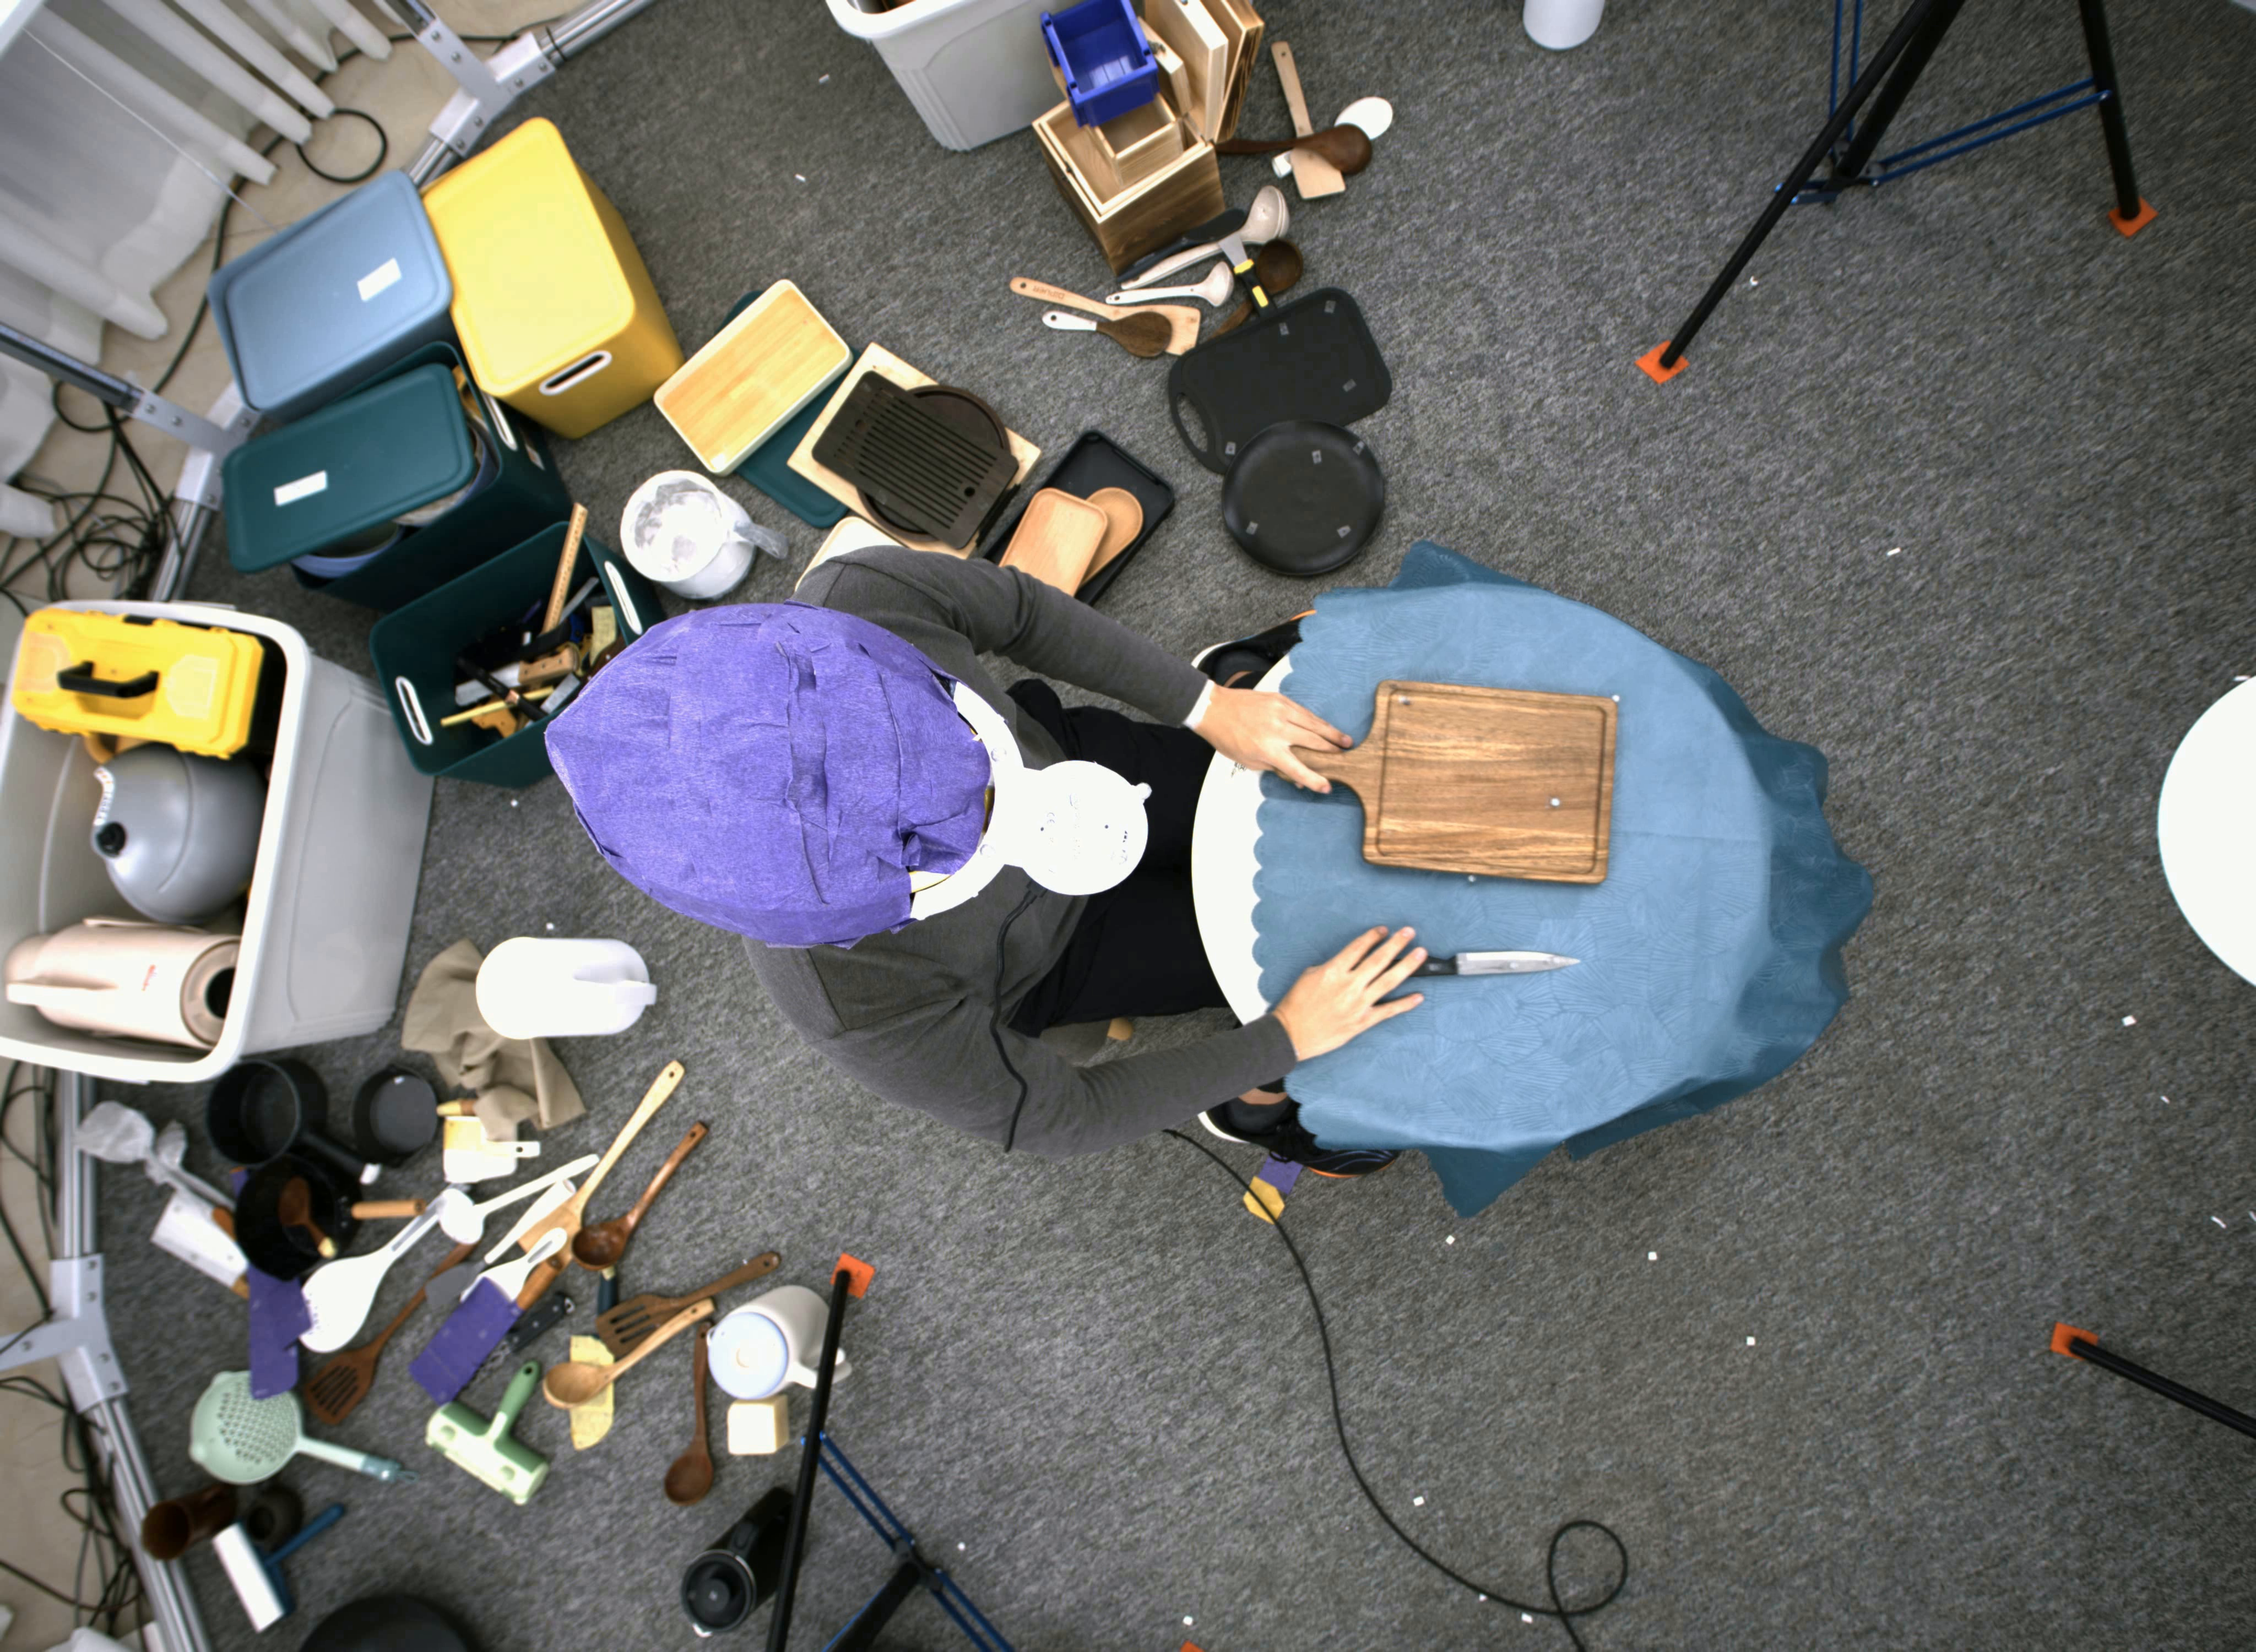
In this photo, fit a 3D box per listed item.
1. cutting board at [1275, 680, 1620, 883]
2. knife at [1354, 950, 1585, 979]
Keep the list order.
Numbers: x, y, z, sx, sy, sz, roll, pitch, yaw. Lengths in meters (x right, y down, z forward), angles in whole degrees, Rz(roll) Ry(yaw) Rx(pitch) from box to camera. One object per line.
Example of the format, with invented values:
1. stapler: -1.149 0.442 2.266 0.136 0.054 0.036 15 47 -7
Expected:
1. cutting board: 0.330 -0.053 1.433 0.353 0.023 0.200 4 87 7
2. knife: 0.354 0.143 1.428 0.239 0.016 0.024 -4 86 5
